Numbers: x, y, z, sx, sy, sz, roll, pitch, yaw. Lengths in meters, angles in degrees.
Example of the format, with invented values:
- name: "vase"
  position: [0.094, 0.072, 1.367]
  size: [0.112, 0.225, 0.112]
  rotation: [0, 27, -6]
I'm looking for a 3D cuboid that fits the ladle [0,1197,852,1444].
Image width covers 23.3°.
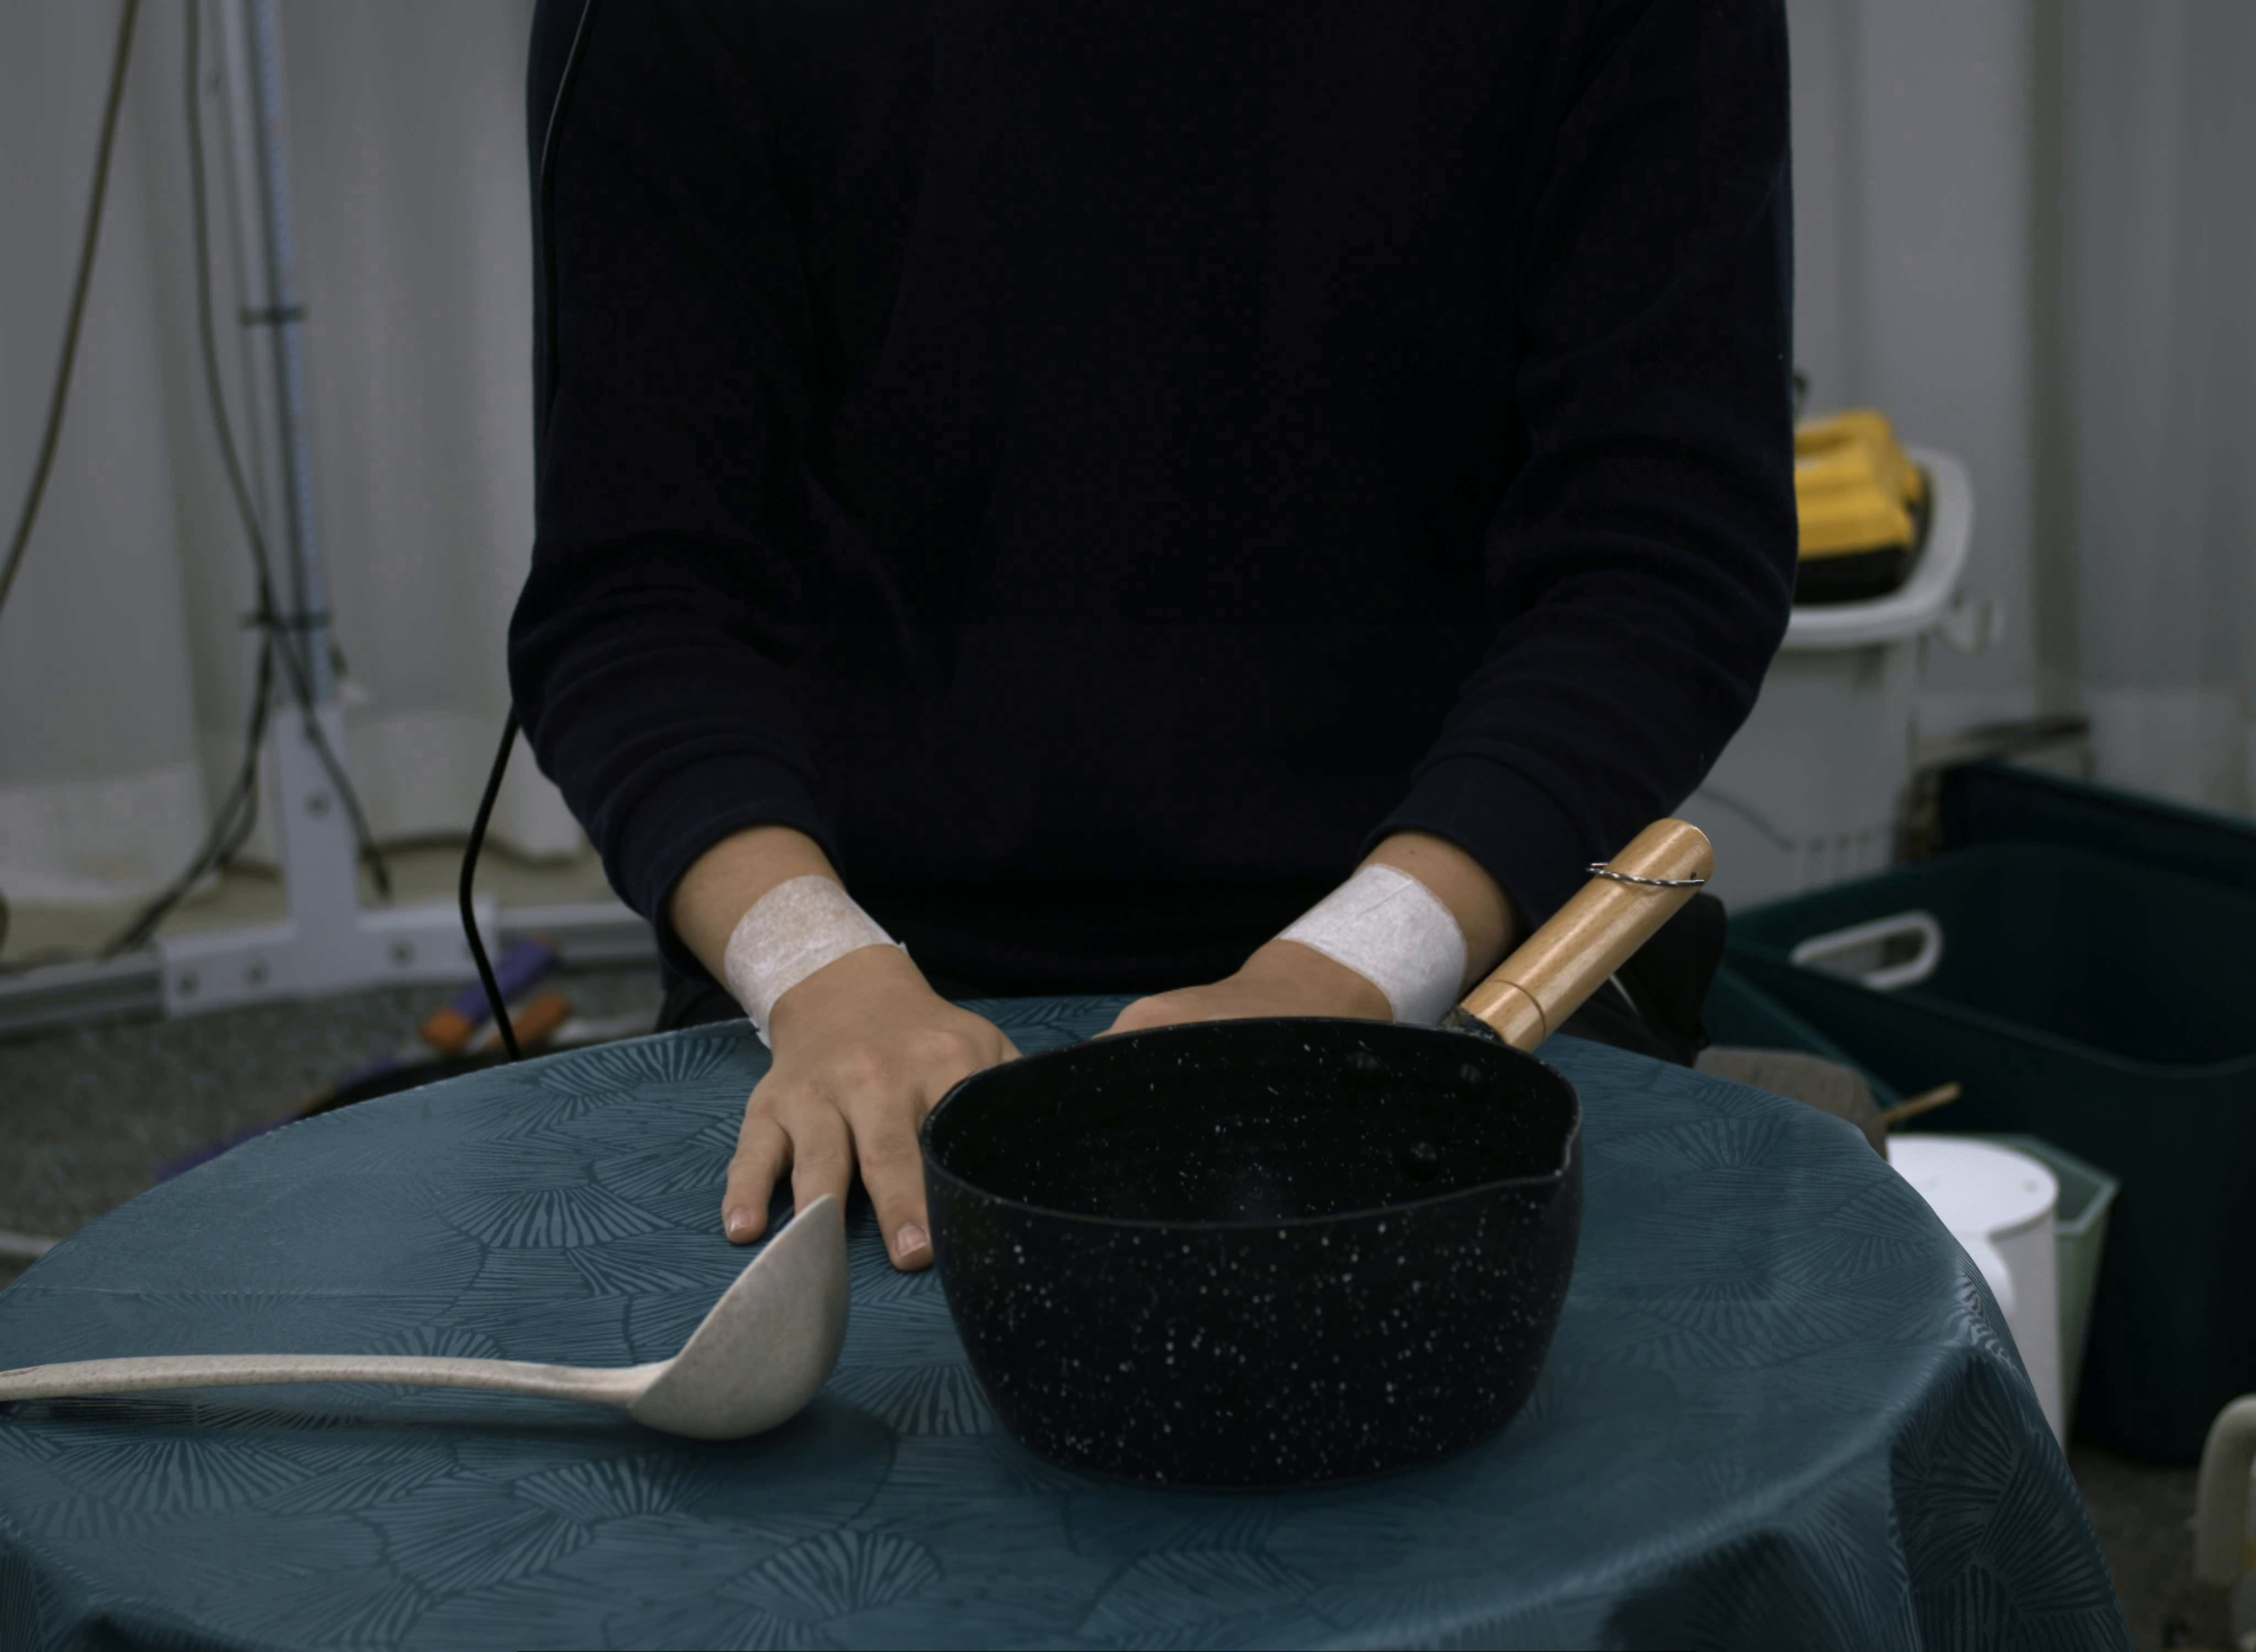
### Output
- name: "ladle"
  position: [-0.211, 0.137, 1.550]
  size: [0.274, 0.069, 0.089]
  rotation: [0, 9, 15]

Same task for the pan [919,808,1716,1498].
- name: "pan"
  position: [0.079, 0.090, 1.585]
  size: [0.208, 0.108, 0.343]
  rotation: [5, 18, 33]
